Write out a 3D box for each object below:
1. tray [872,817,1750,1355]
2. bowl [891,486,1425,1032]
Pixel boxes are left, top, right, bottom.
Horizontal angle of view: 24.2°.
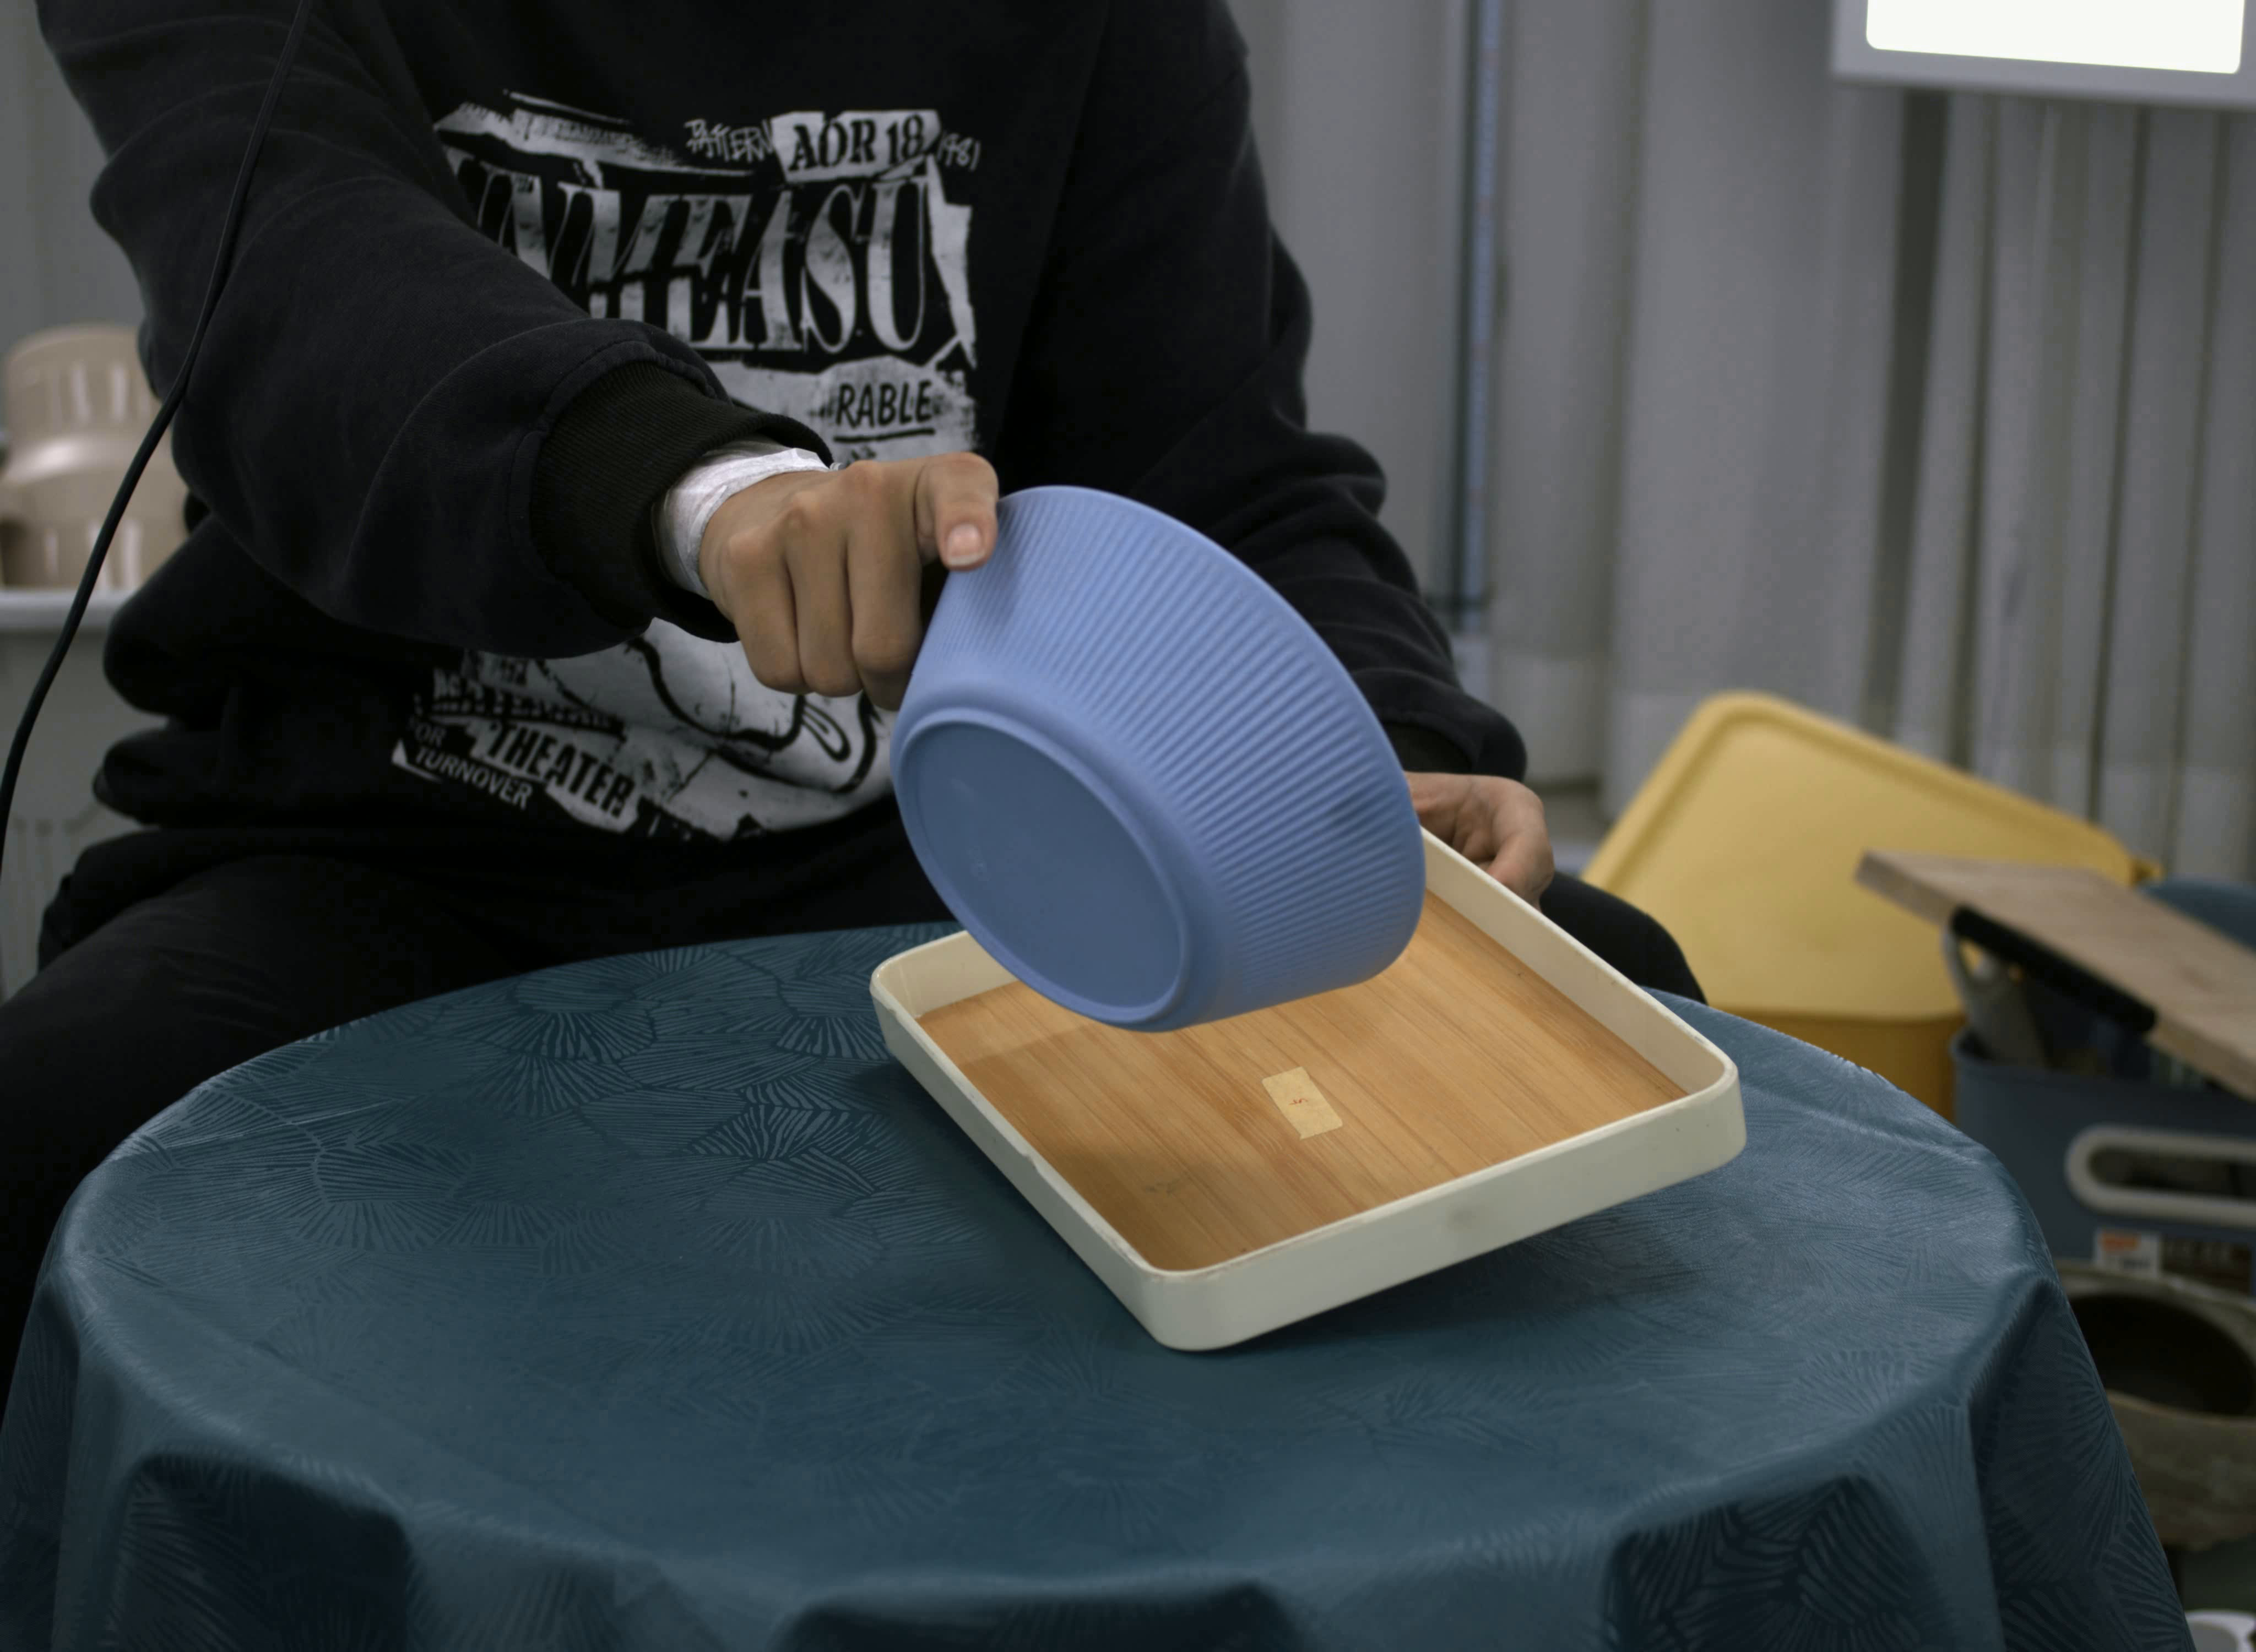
[{"bbox_3d":[0.049,0.071,1.637,0.191,0.028,0.297,-19,23,-14],"label":"tray"},{"bbox_3d":[-0.004,-0.007,1.505,0.173,0.178,0.070,16,47,40],"label":"bowl"}]
